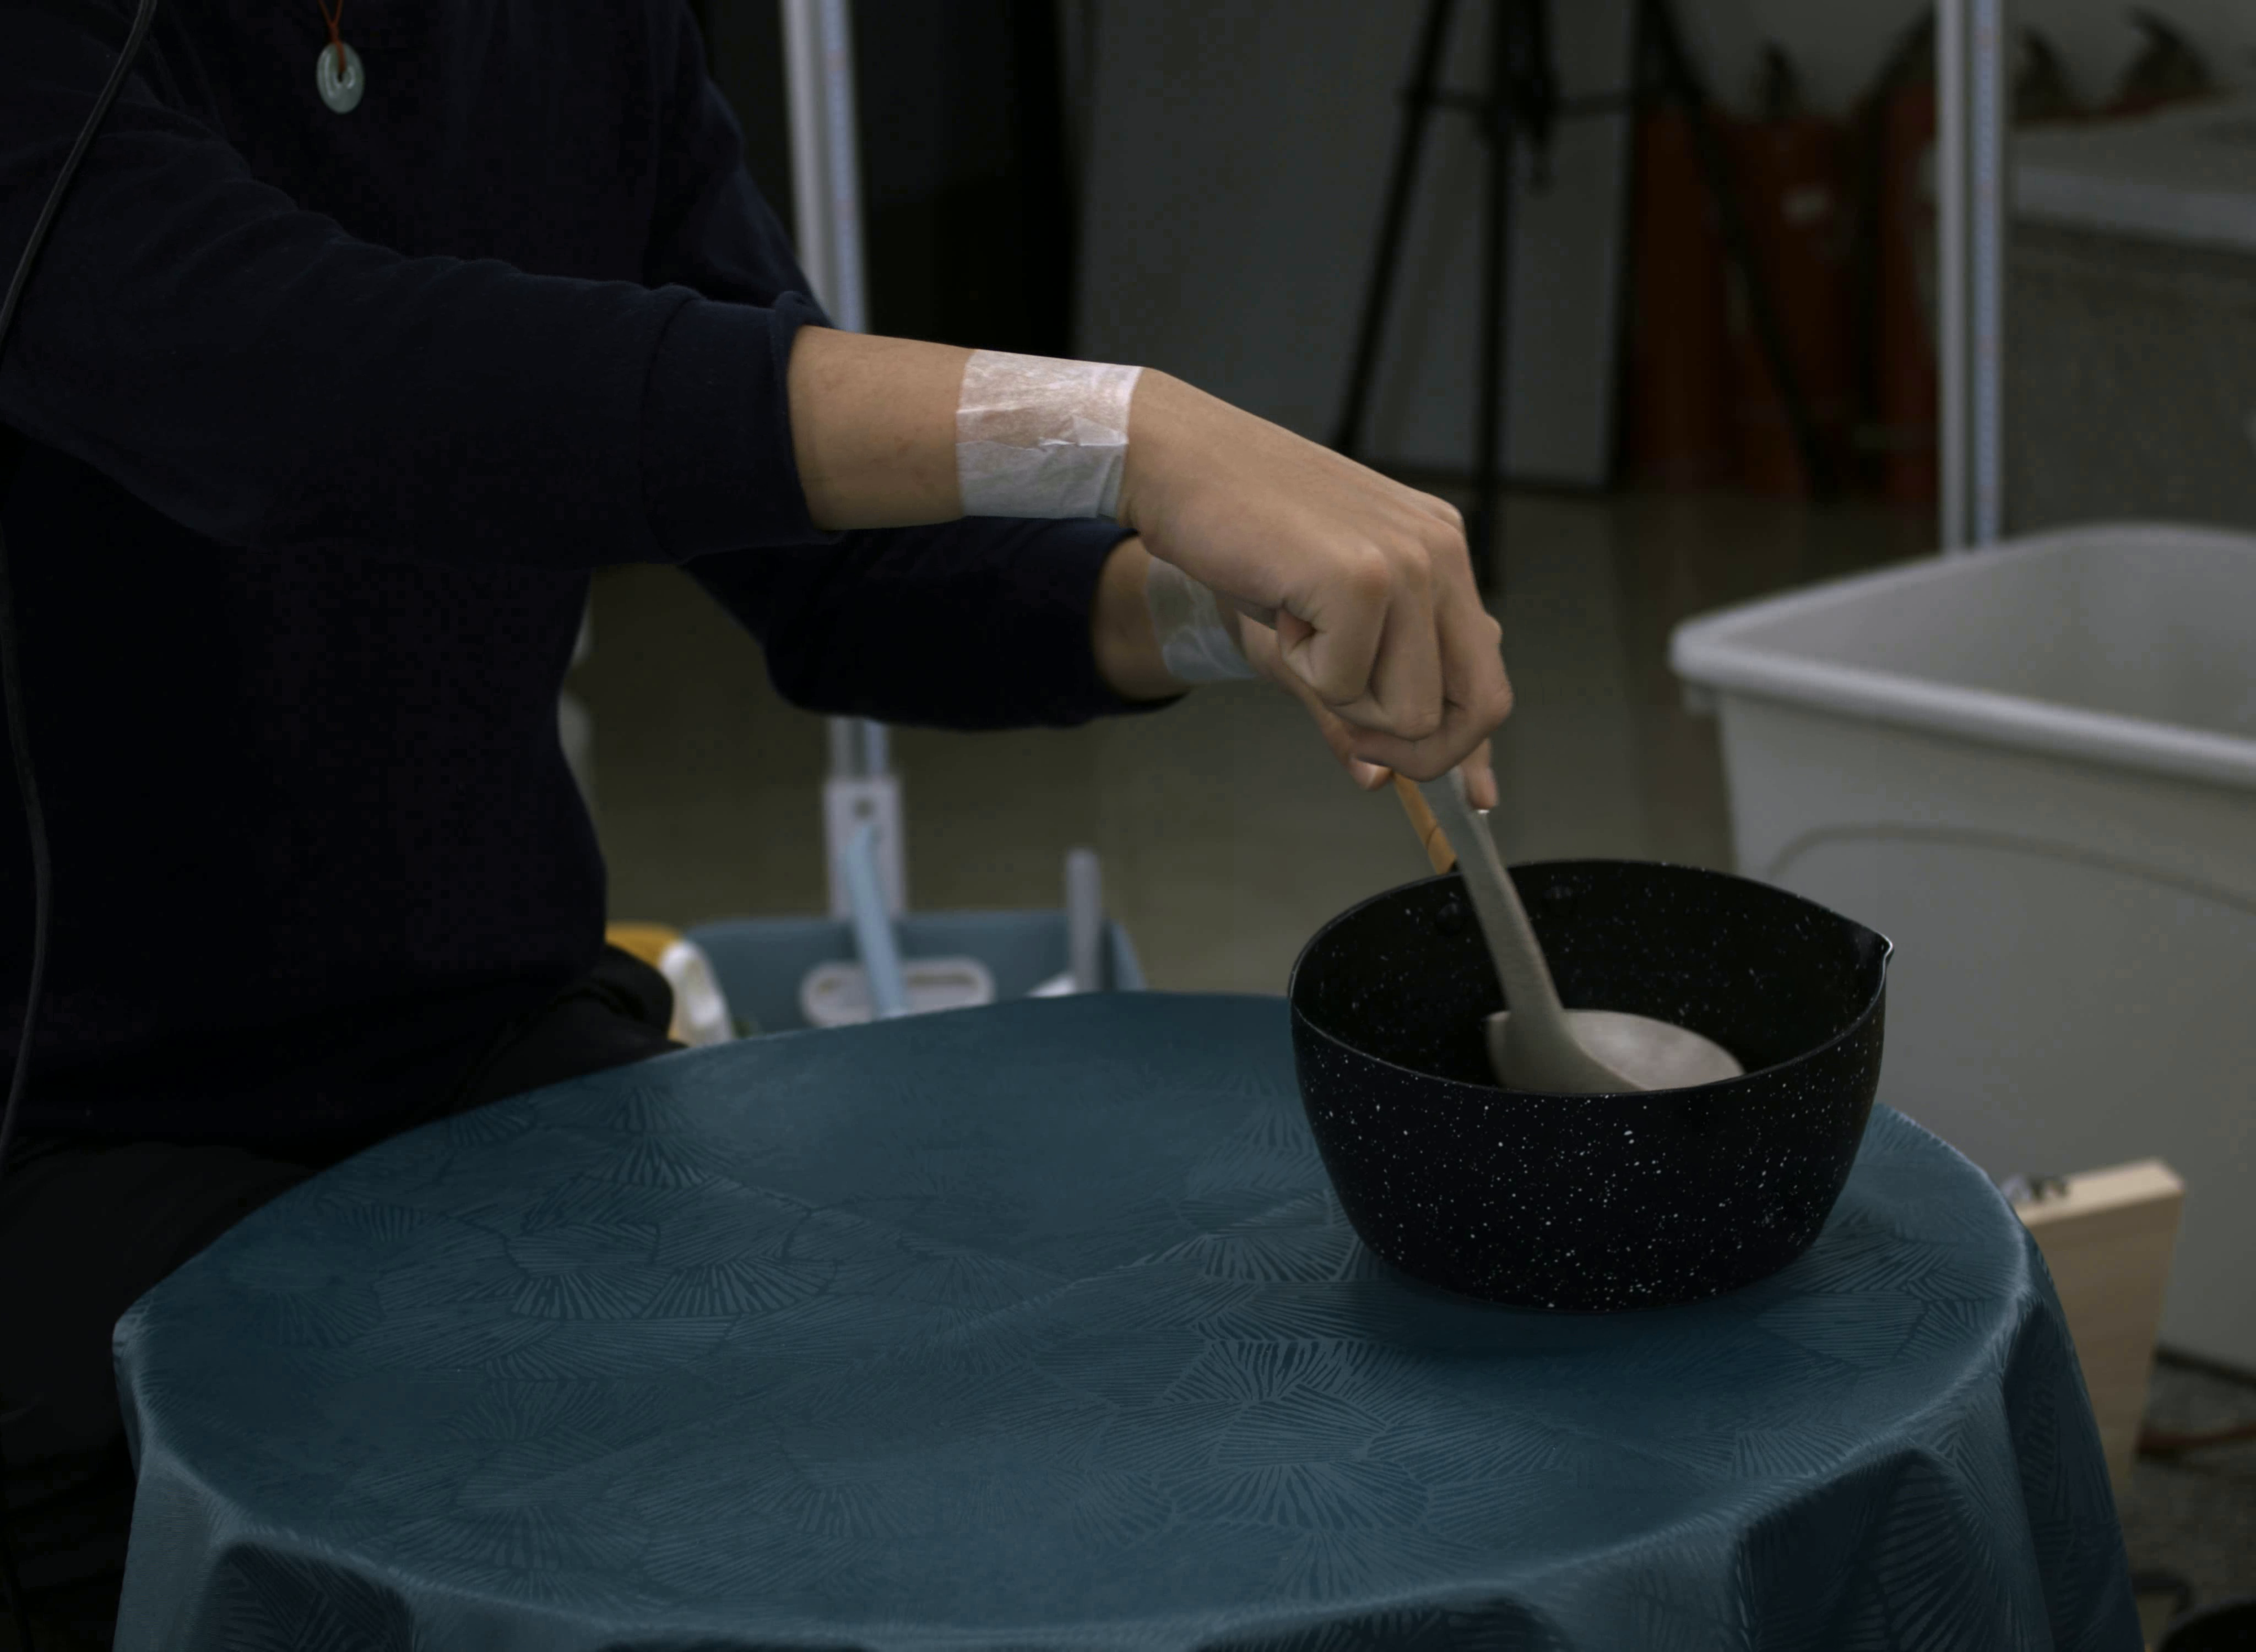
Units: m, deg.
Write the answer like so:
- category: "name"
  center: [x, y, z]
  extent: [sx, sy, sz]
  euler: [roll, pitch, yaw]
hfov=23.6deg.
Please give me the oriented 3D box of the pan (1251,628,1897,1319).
- category: "pan"
  center: [0.123, 0.043, 1.745]
  extent: [0.204, 0.109, 0.346]
  euler: [-9, 23, -11]

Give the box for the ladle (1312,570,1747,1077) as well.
- category: "ladle"
  center: [0.123, 0.000, 1.645]
  extent: [0.069, 0.274, 0.090]
  euler: [-42, 43, -18]
